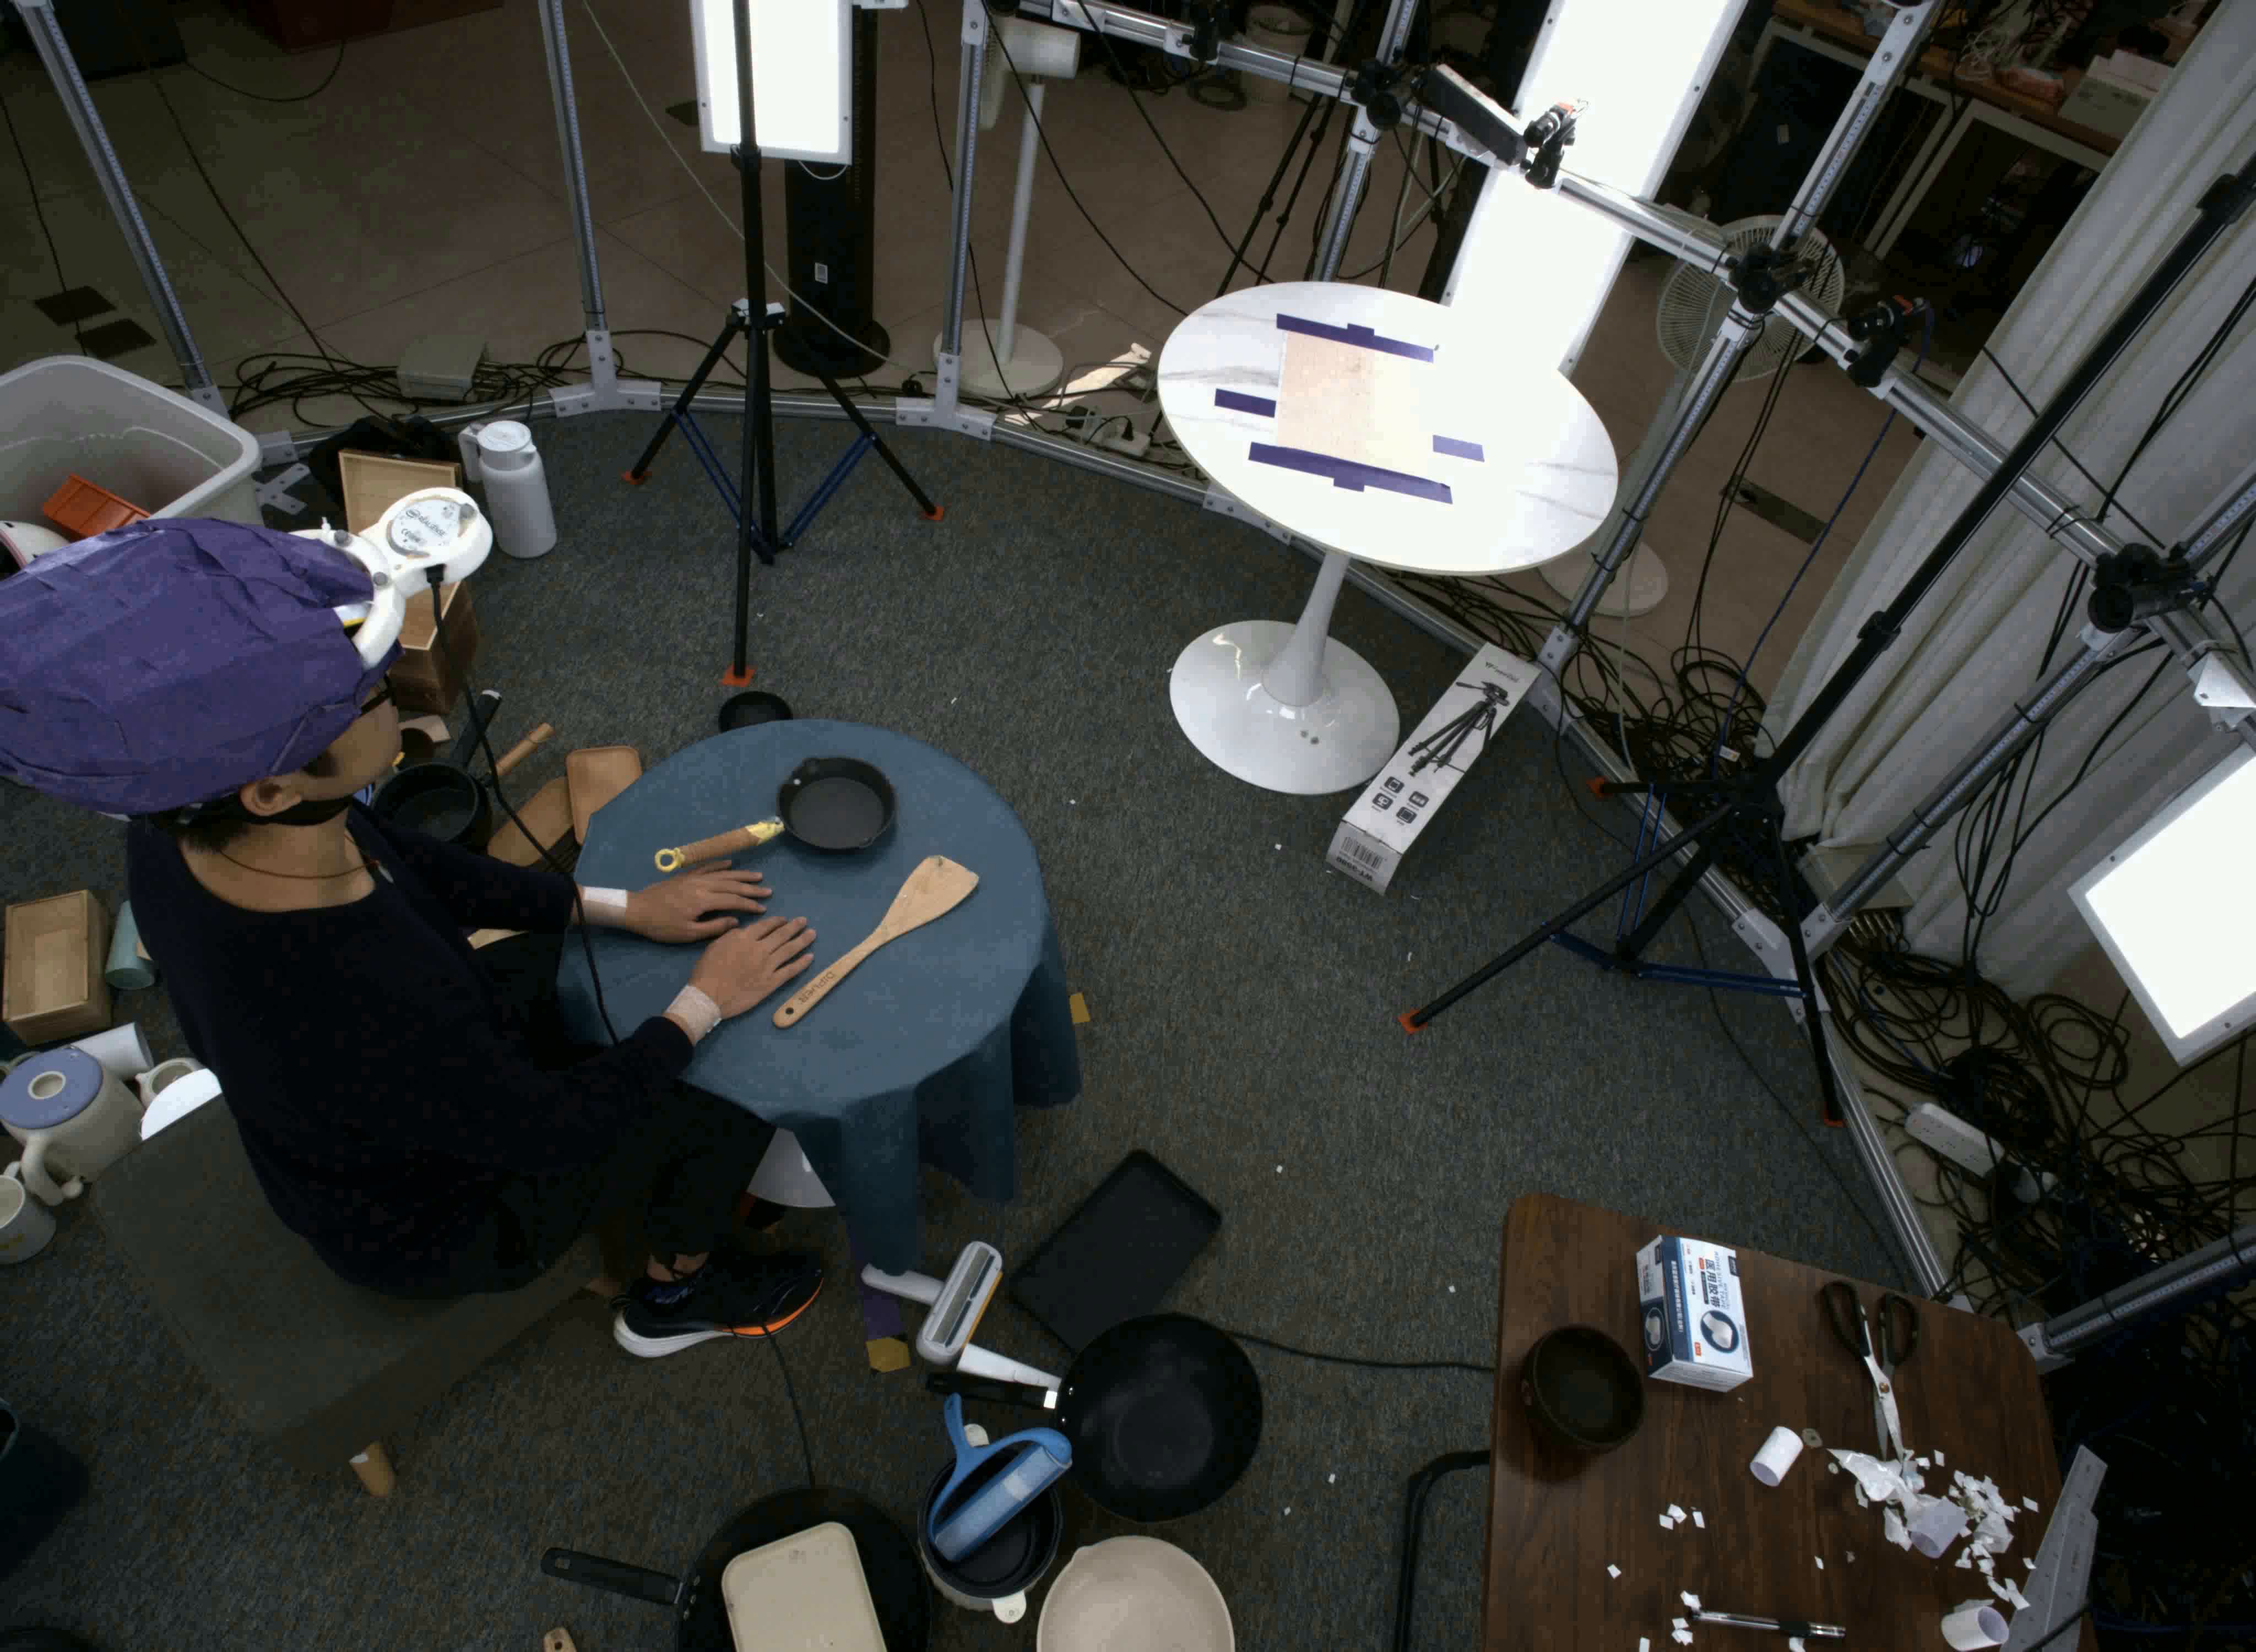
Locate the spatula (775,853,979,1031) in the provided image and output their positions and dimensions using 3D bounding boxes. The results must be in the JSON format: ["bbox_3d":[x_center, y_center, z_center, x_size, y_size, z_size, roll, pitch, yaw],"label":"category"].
[{"bbox_3d":[-0.319,0.141,1.626,0.078,0.017,0.327,36,53,14],"label":"spatula"}]

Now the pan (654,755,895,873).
[{"bbox_3d":[-0.456,-0.001,1.674,0.326,0.050,0.165,-22,62,-30],"label":"pan"}]
